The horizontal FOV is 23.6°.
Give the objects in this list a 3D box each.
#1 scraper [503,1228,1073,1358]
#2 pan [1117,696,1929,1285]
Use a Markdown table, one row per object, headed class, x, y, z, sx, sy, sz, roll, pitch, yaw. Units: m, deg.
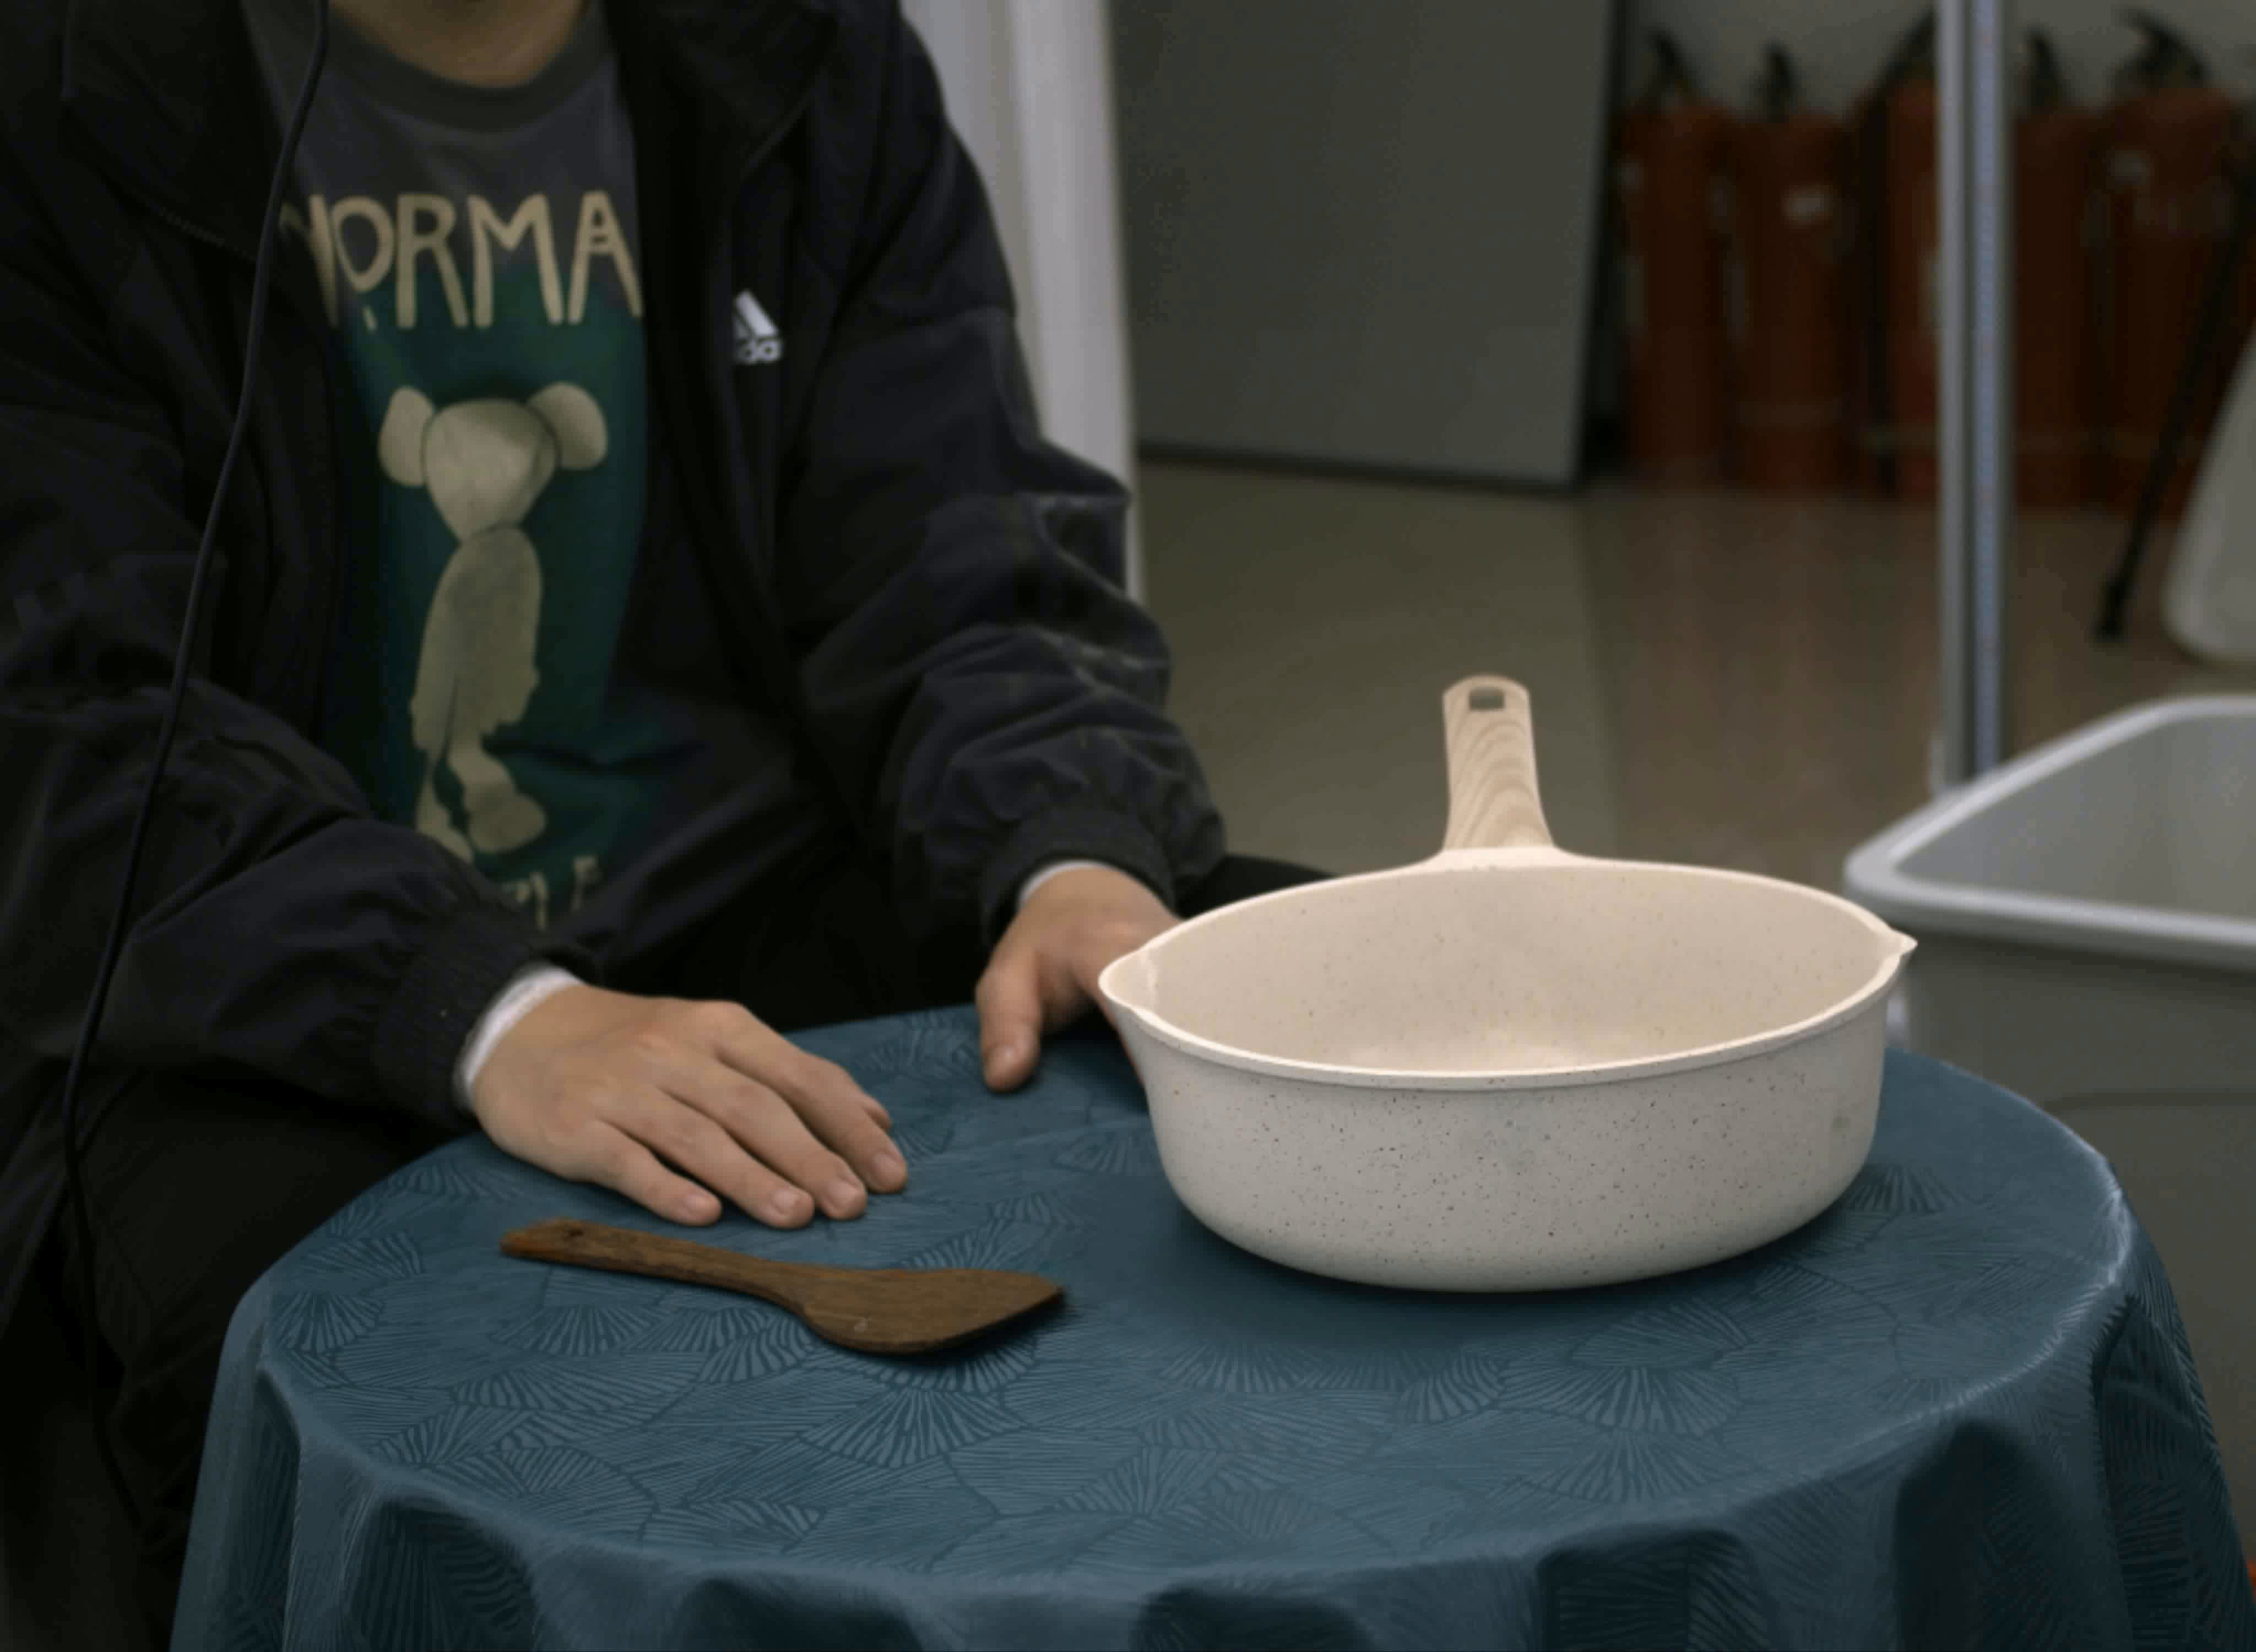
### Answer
| class | x | y | z | sx | sy | sz | roll | pitch | yaw |
| --- | --- | --- | --- | --- | --- | --- | --- | --- | --- |
| scraper | -0.114 | 0.144 | 1.700 | 0.213 | 0.011 | 0.074 | 6 | 16 | 38 |
| pan | 0.131 | 0.051 | 1.814 | 0.260 | 0.103 | 0.435 | -5 | 13 | 3 |
